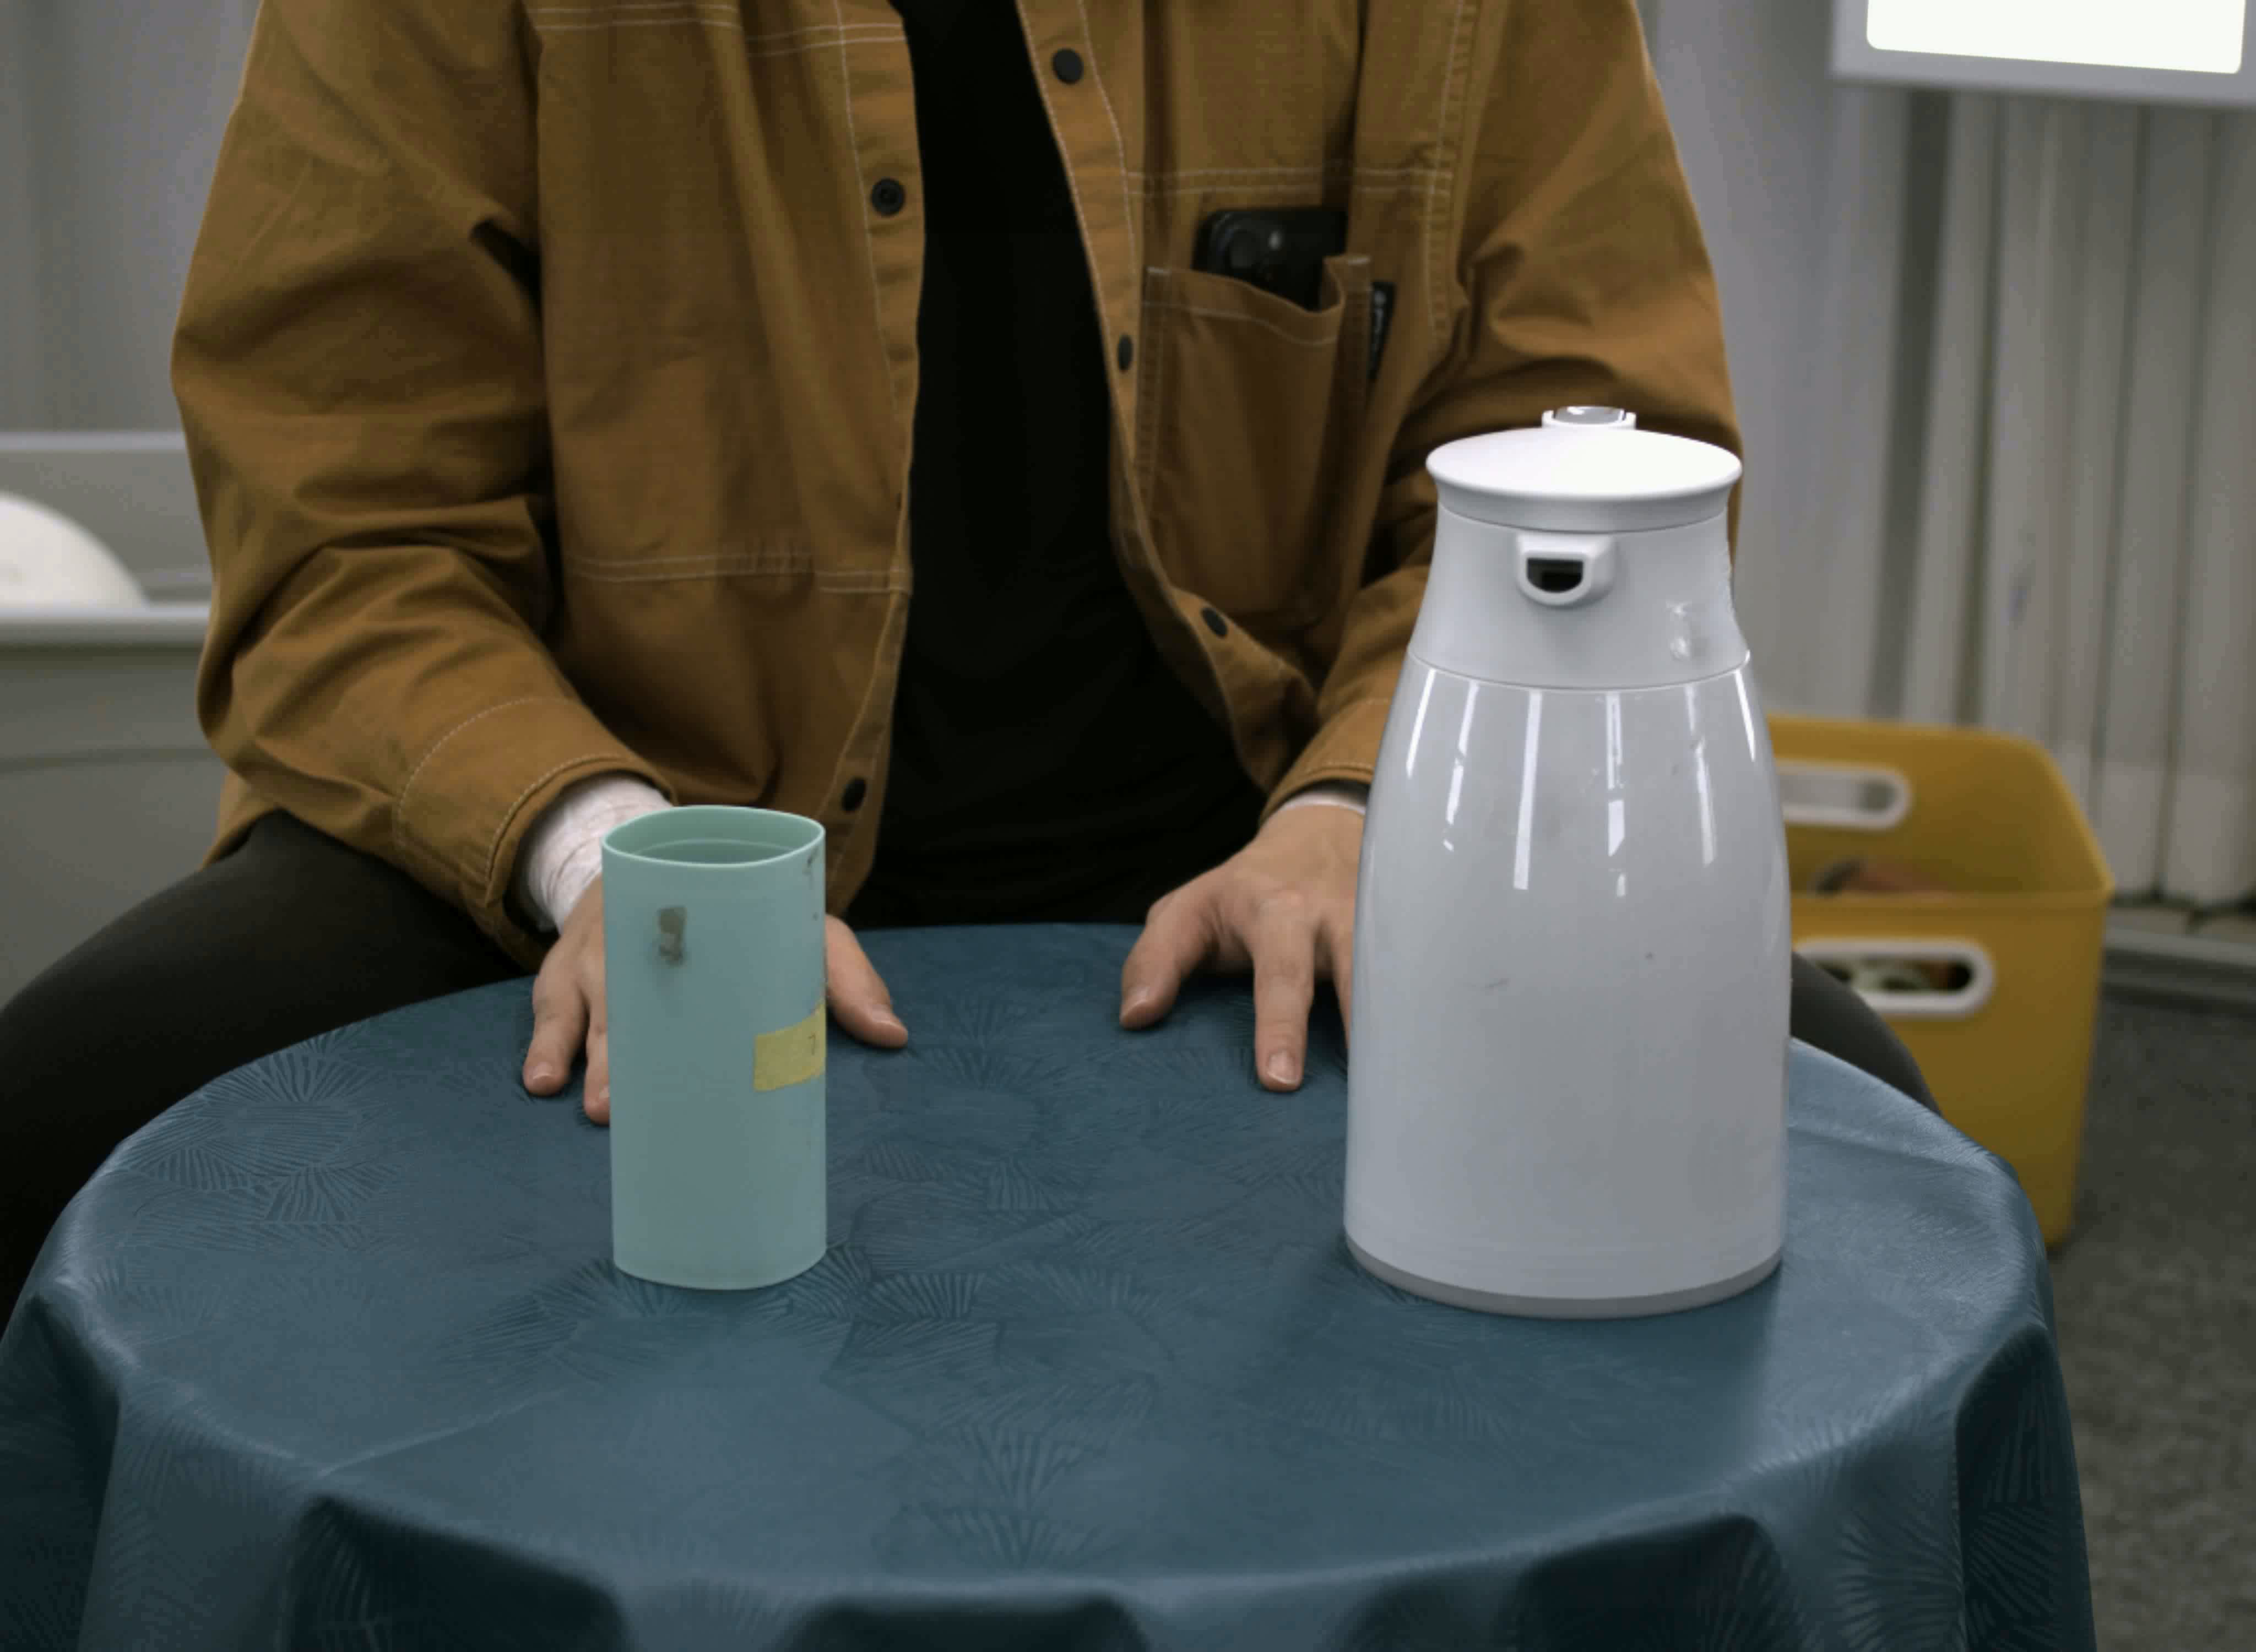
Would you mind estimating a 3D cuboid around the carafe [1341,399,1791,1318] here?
[{"bbox_3d":[0.133,0.001,1.564,0.131,0.250,0.167,3,16,10],"label":"carafe"}]

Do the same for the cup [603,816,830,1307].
[{"bbox_3d":[-0.121,0.068,1.547,0.066,0.133,0.066,1,16,0],"label":"cup"}]
